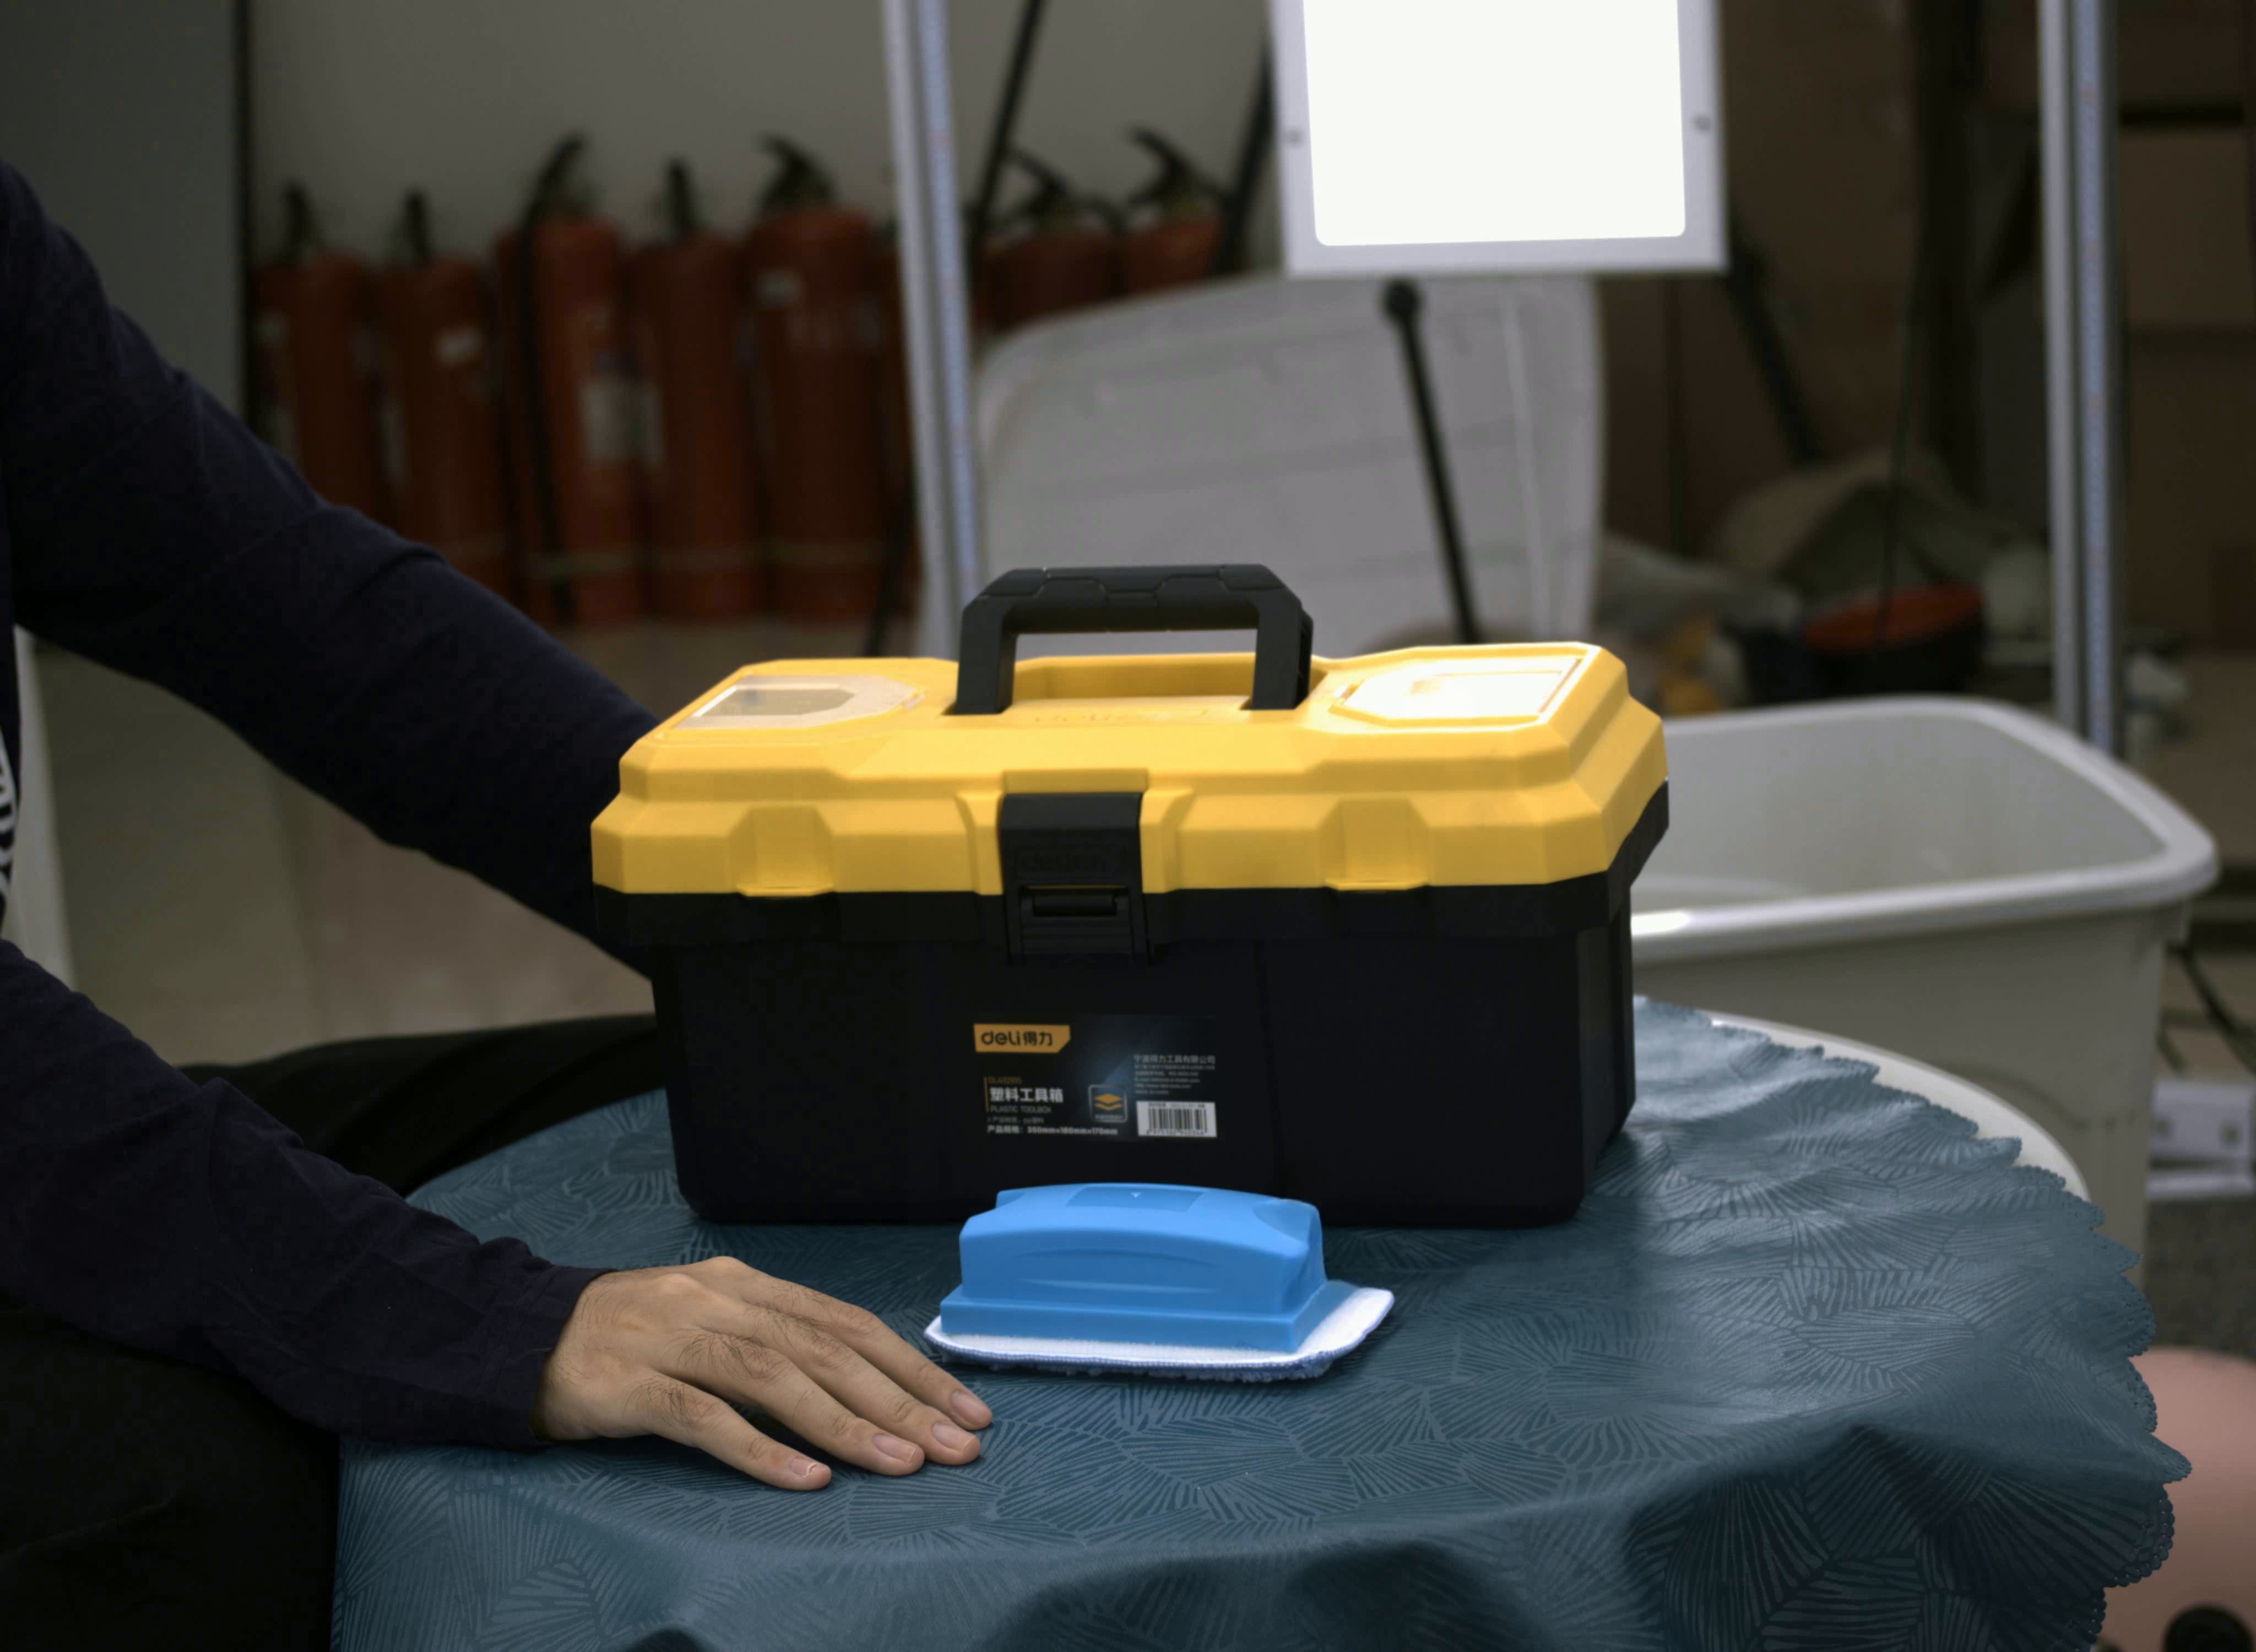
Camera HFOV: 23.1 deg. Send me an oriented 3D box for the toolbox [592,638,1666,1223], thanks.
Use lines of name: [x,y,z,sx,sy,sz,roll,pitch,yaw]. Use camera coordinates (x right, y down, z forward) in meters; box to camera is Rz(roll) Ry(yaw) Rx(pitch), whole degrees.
toolbox: [0.004,0.037,1.896,0.355,0.173,0.178,-1,14,17]

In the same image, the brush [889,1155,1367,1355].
brush: [0.000,0.135,1.736,0.146,0.056,0.082,4,13,25]
